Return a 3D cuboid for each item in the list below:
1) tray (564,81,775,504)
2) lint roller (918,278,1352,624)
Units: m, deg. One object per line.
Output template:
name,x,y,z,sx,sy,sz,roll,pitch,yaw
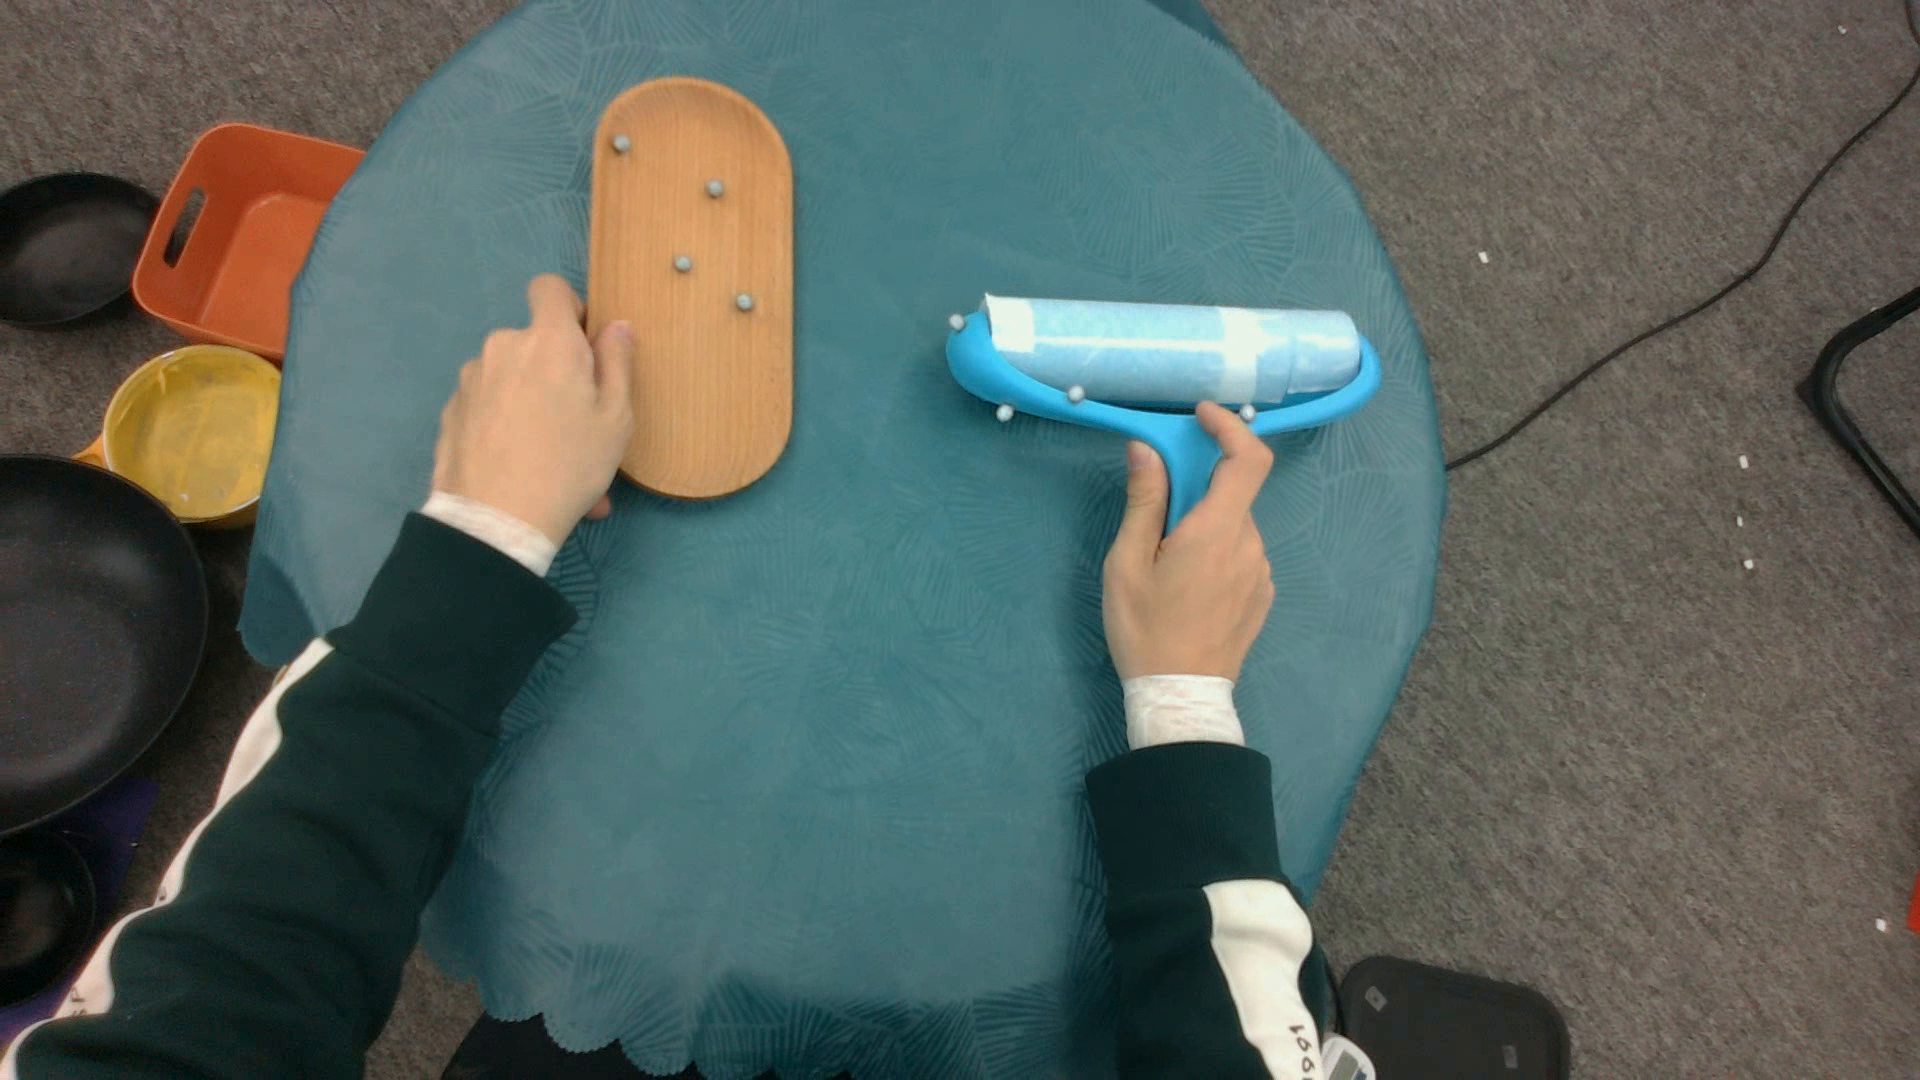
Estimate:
tray,-0.147,-0.128,0.695,0.102,0.020,0.231,1,74,-17
lint roller,0.099,-0.052,0.699,0.229,0.067,0.180,-4,73,-12
